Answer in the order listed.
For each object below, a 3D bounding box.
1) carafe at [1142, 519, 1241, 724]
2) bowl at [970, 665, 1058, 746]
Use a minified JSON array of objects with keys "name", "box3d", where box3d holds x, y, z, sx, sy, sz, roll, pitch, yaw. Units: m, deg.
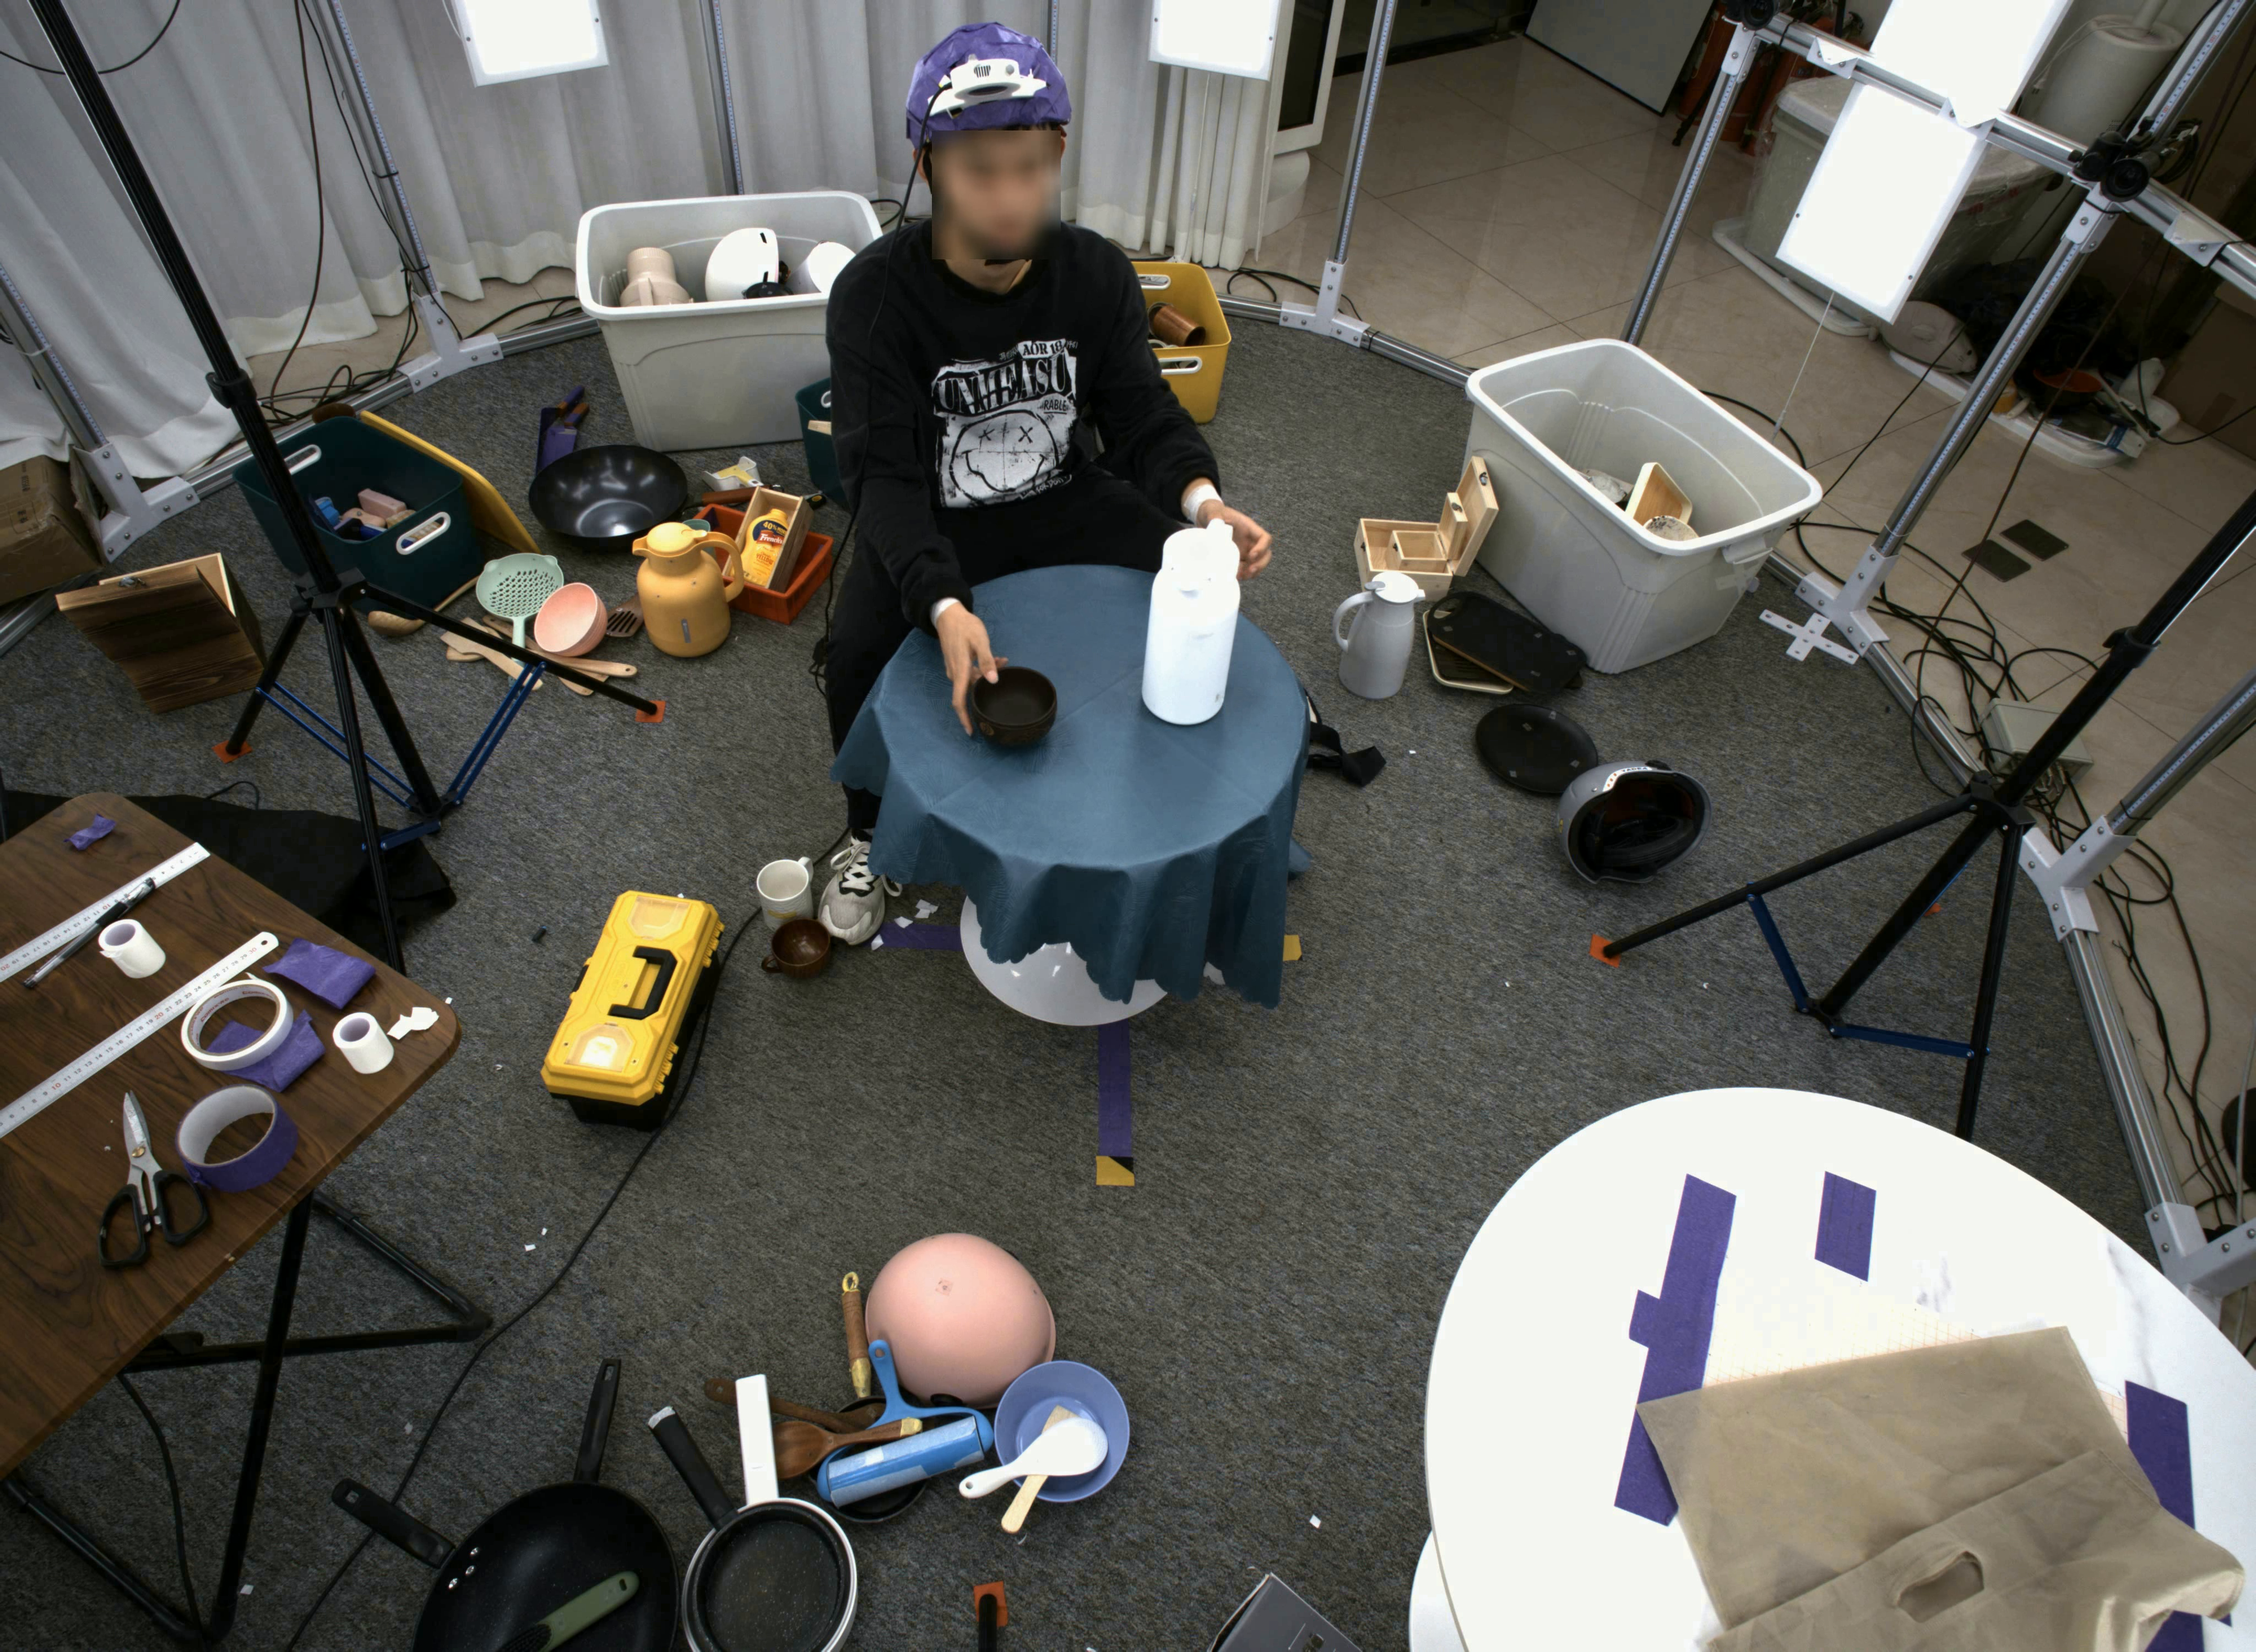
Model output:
[{"name":"carafe","box3d":[0.090,-0.280,1.745,0.124,0.262,0.176,16,50,12]},{"name":"bowl","box3d":[-0.155,-0.156,1.747,0.118,0.068,0.121,2,49,-2]}]
